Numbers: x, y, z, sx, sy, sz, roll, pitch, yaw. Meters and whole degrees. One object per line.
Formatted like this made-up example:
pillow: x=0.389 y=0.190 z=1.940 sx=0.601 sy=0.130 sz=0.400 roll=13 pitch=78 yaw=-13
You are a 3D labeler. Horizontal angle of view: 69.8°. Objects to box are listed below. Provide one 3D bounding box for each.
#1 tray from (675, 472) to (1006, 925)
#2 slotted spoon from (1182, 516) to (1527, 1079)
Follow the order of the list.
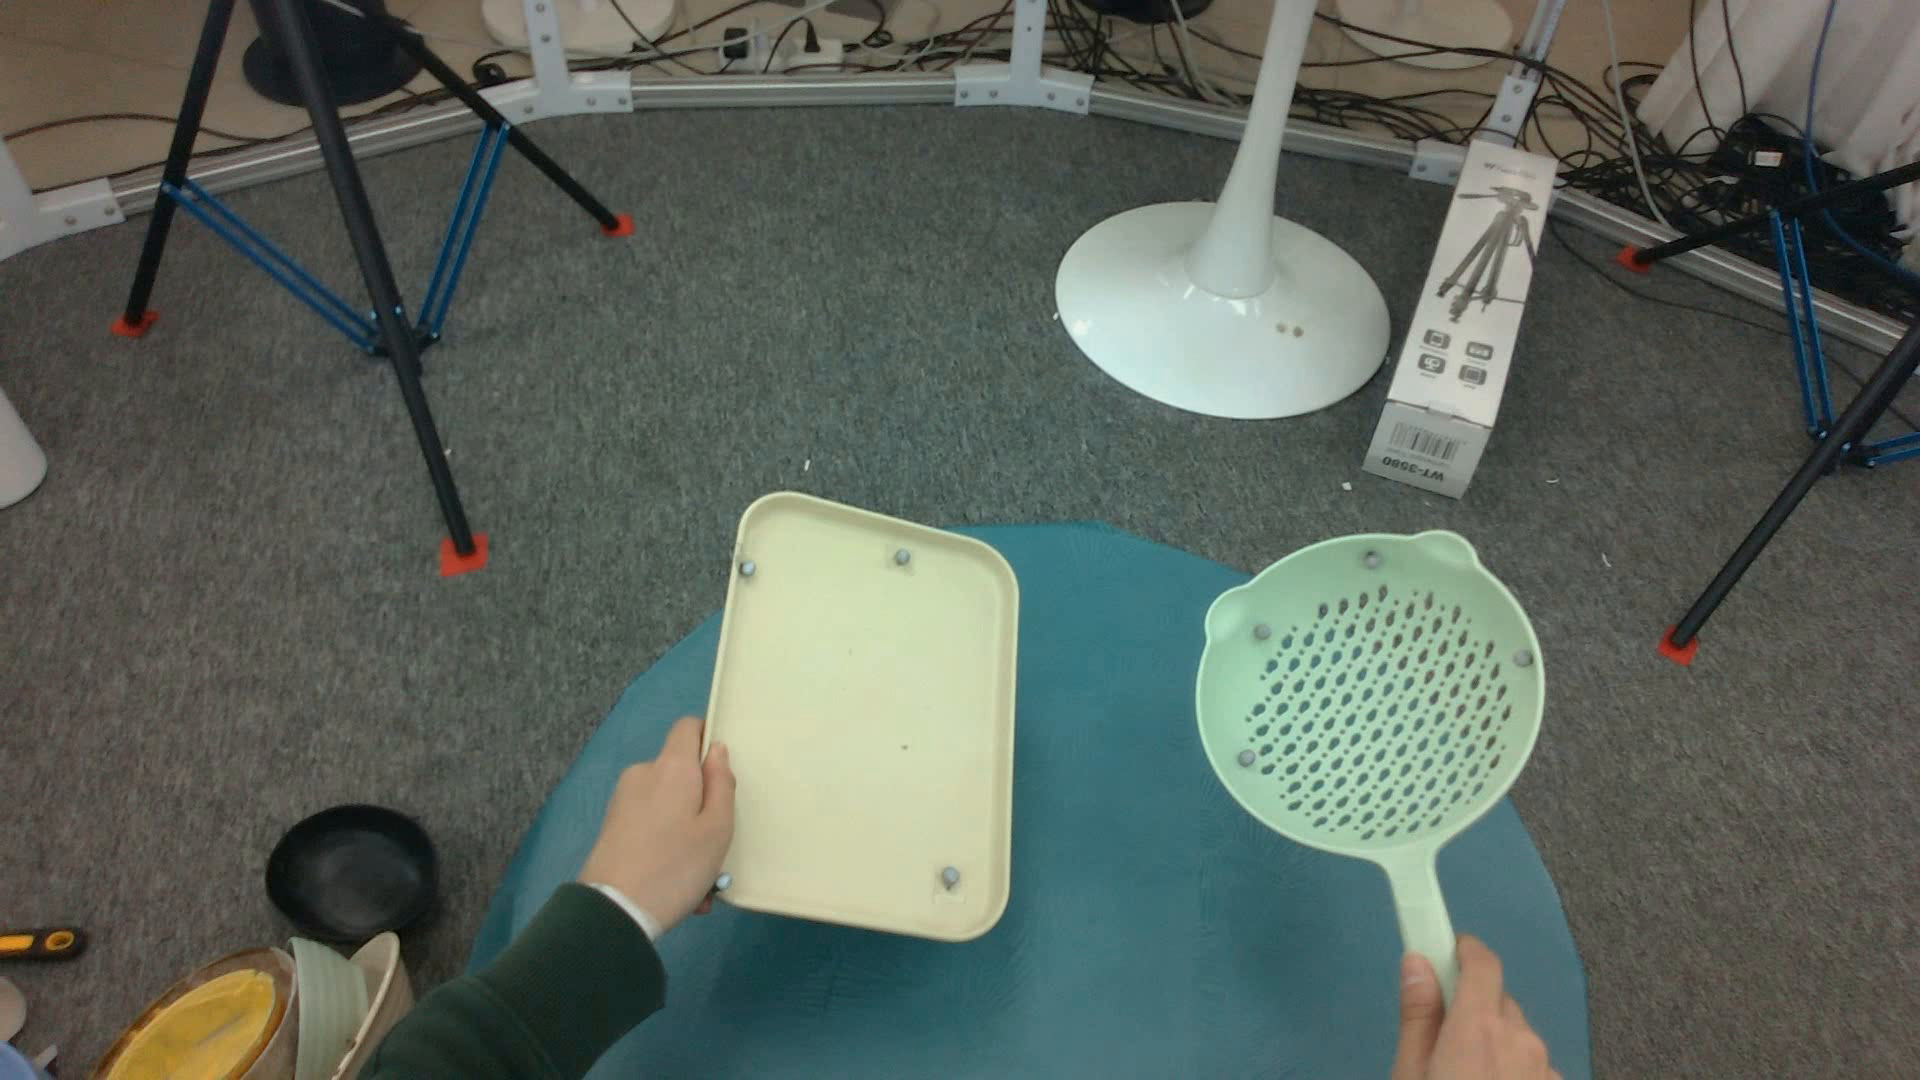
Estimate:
tray: x=-0.057 y=0.081 z=0.740 sx=0.171 sy=0.017 sz=0.240 roll=15 pitch=57 yaw=-18
slotted spoon: x=0.205 y=0.153 z=0.645 sx=0.169 sy=0.075 sz=0.360 roll=-19 pitch=48 yaw=21
